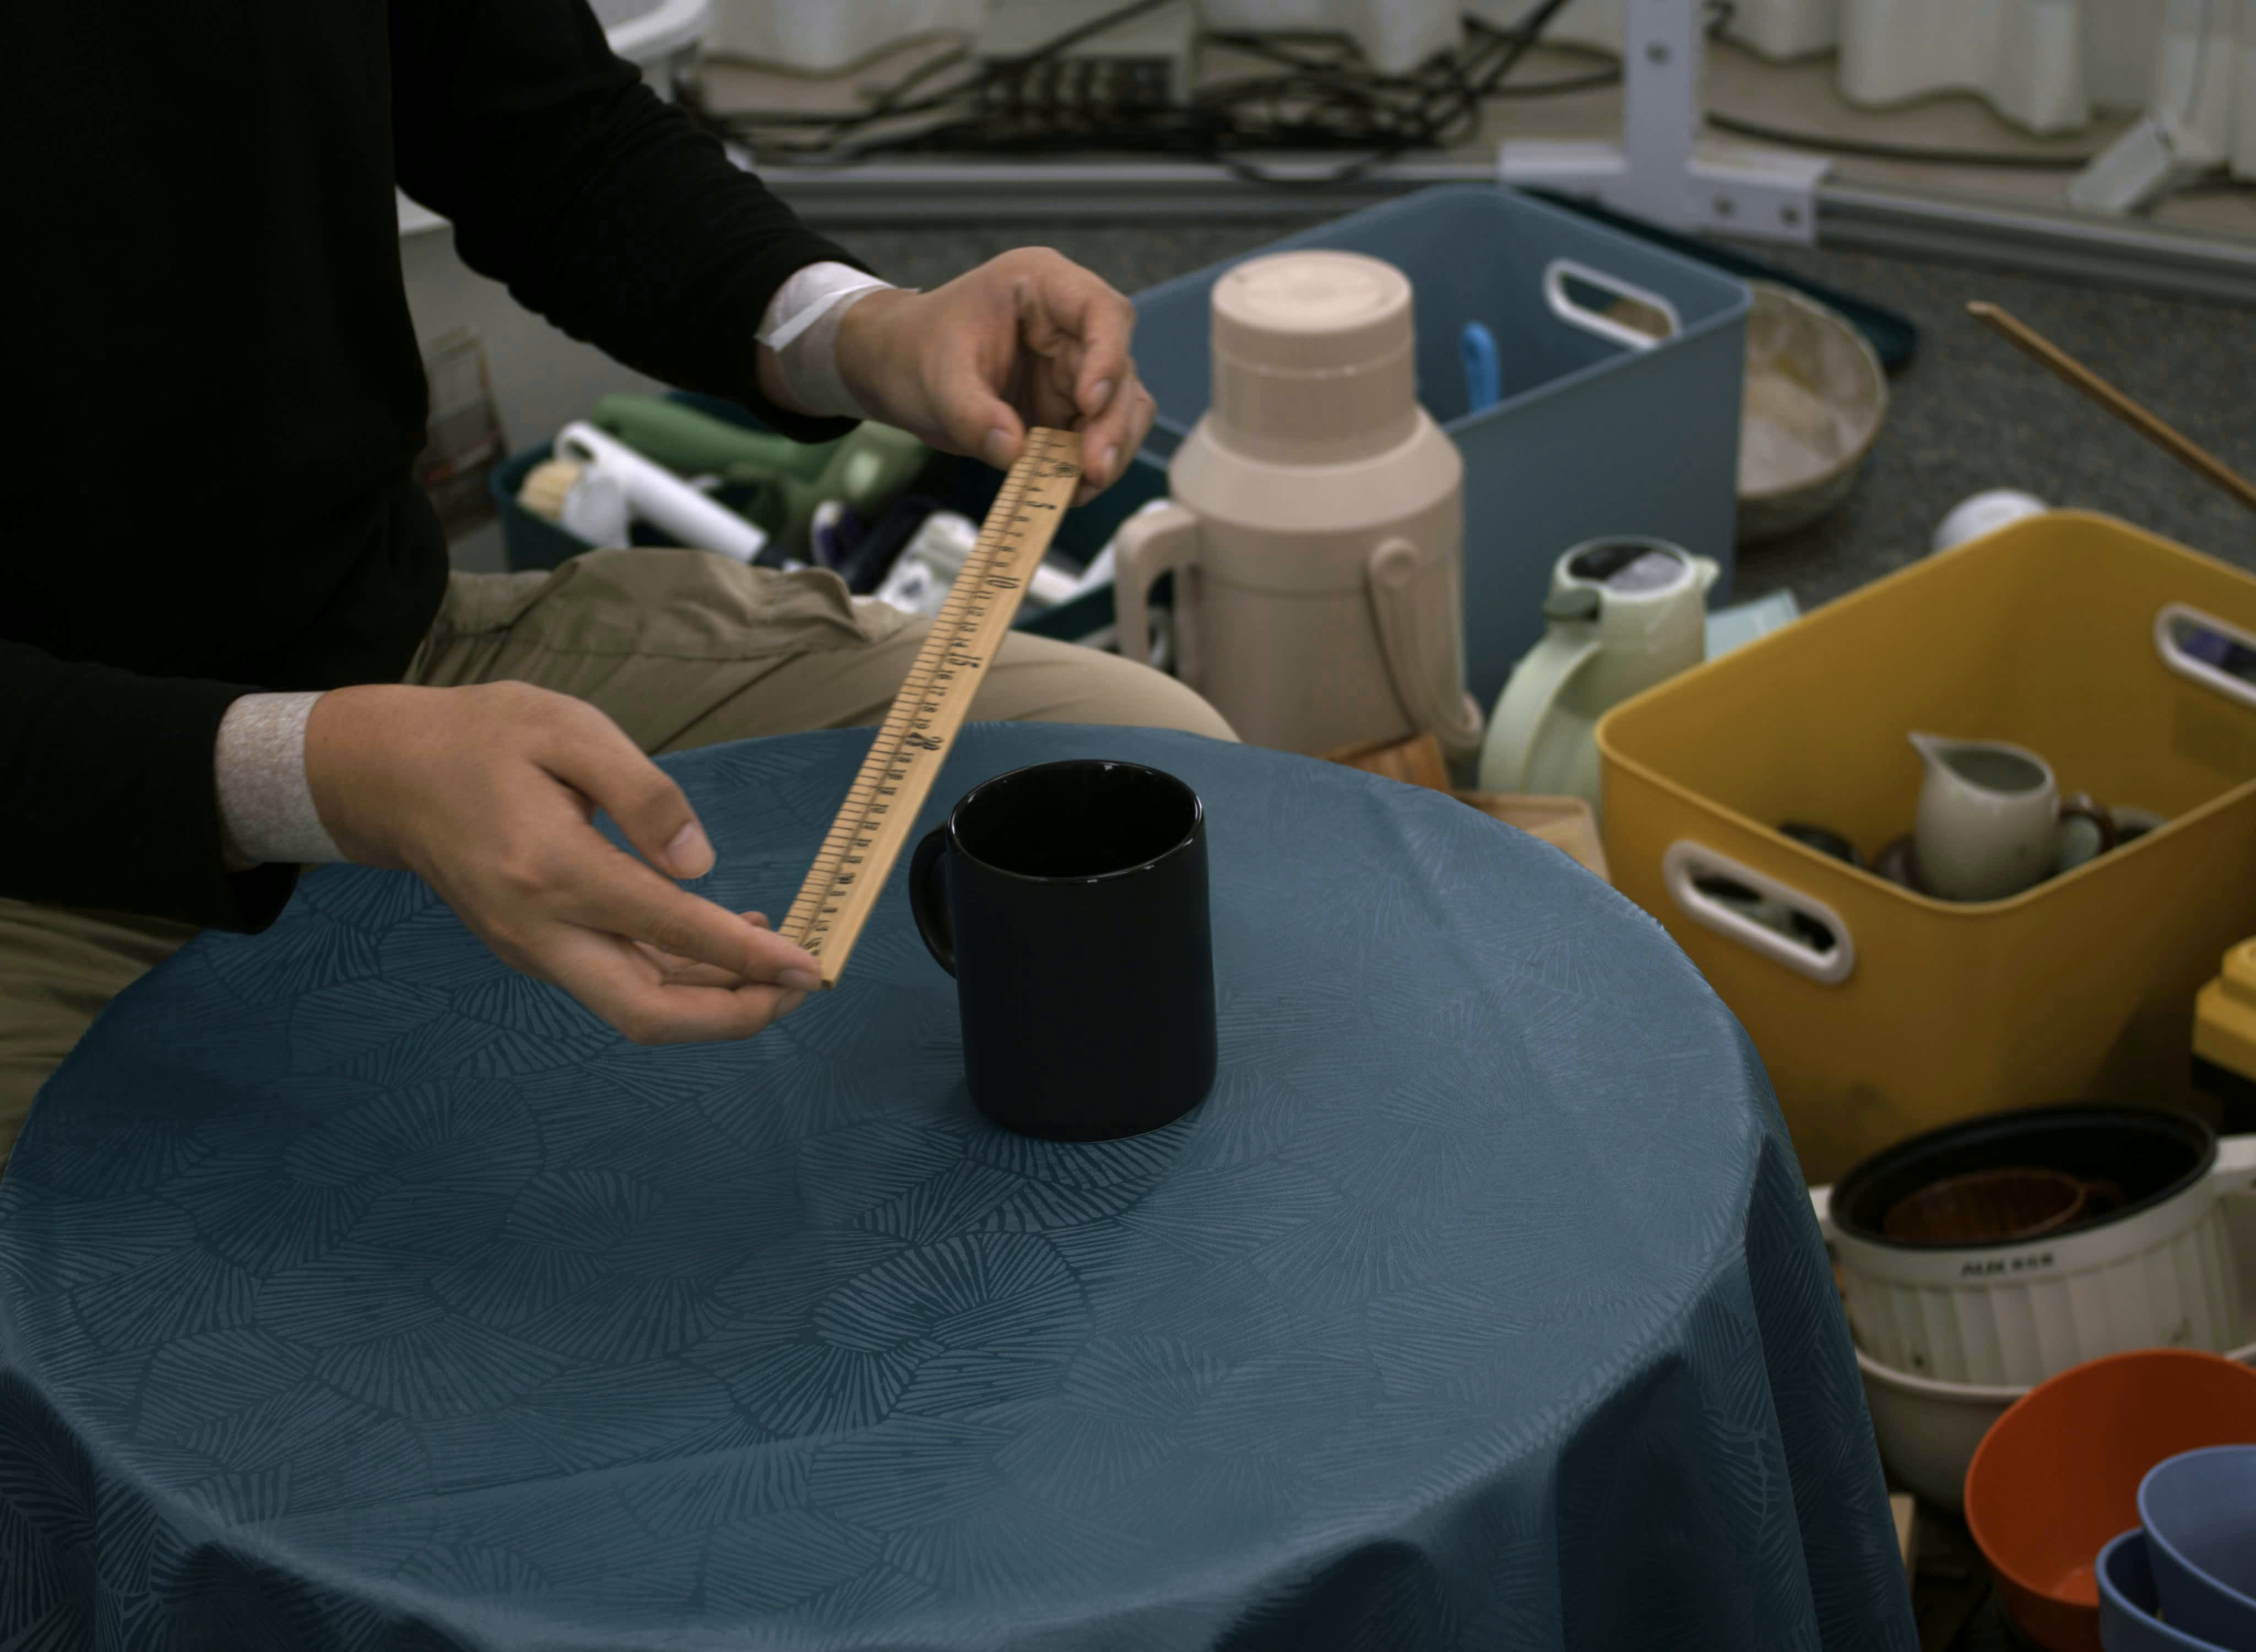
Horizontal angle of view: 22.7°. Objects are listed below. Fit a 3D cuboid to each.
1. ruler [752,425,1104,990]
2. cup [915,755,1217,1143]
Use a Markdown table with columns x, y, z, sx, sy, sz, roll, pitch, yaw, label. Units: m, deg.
| x | y | z | sx | sy | sz | roll | pitch | yaw | label |
| --- | --- | --- | --- | --- | --- | --- | --- | --- | --- |
| -0.065 | -0.050 | 1.920 | 0.027 | 0.022 | 0.338 | 15 | 38 | 8 | ruler |
| -0.028 | 0.036 | 1.917 | 0.090 | 0.104 | 0.123 | -27 | 36 | -36 | cup |
